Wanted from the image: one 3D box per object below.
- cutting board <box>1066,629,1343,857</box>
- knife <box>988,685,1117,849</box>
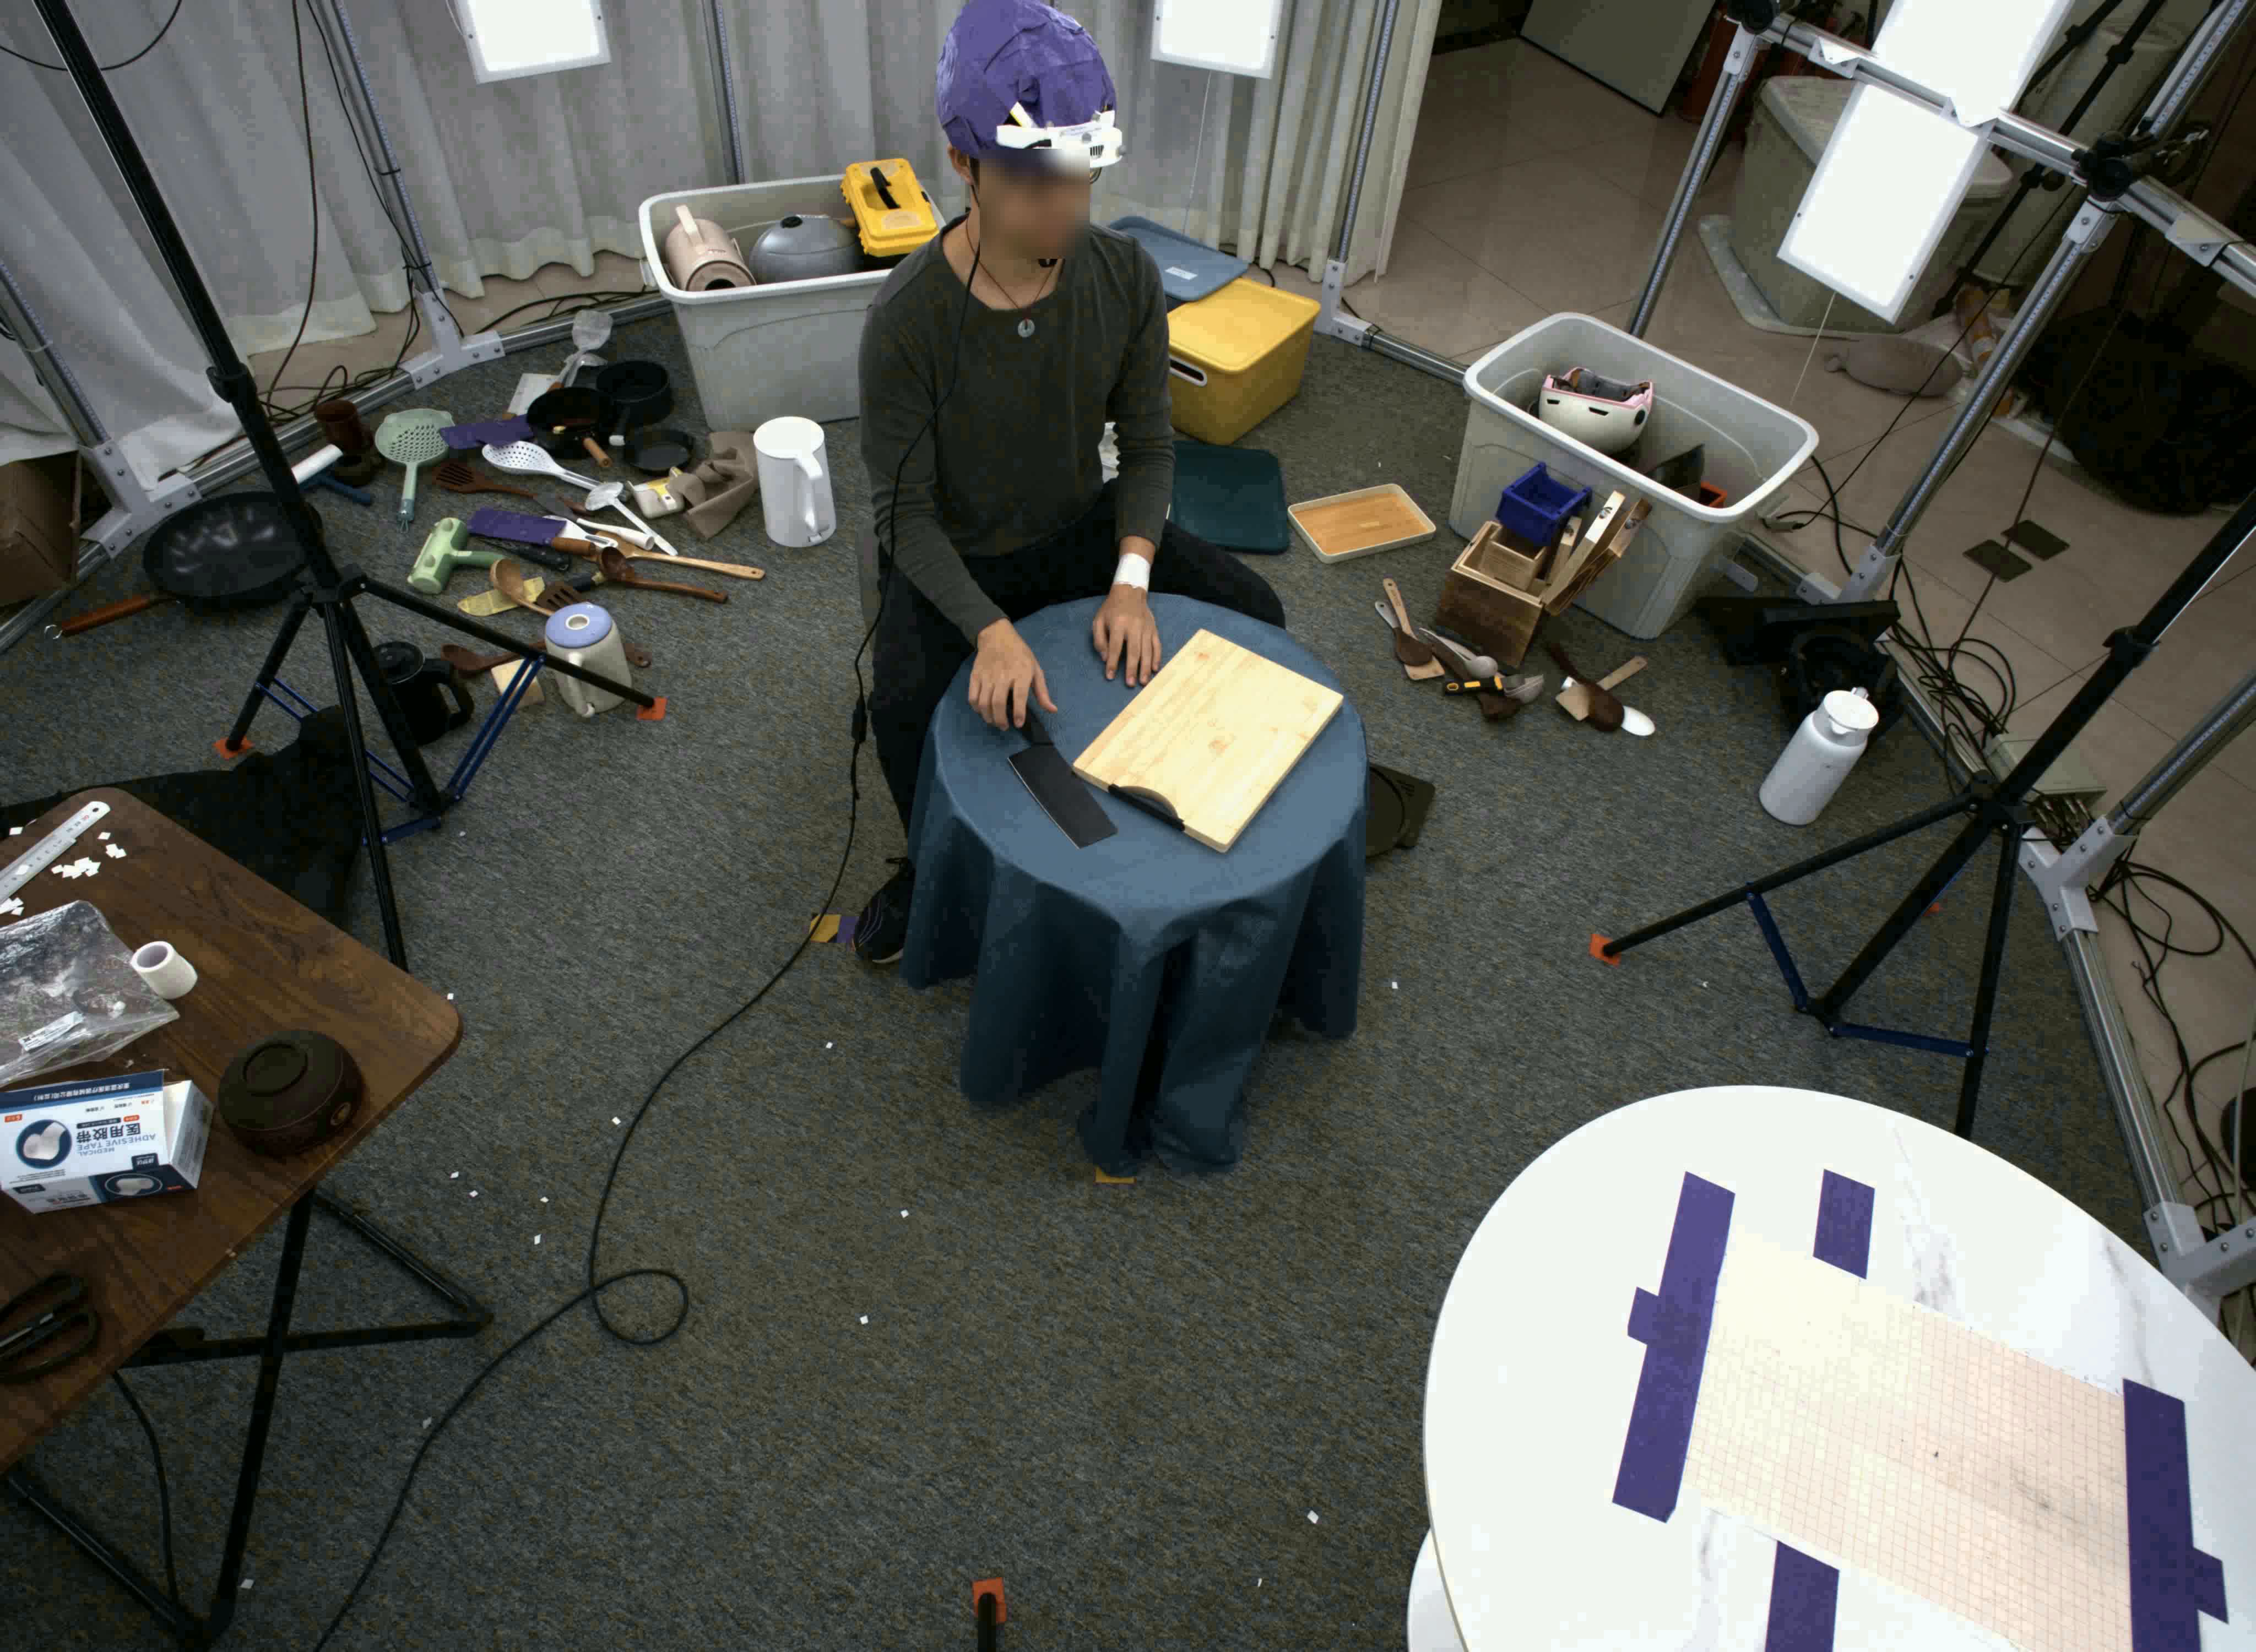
[{"bbox_3d":[0.113,-0.125,1.773,0.253,0.023,0.354,27,52,19],"label":"cutting board"},{"bbox_3d":[-0.115,-0.086,1.725,0.081,0.020,0.309,-20,55,-19],"label":"knife"}]
